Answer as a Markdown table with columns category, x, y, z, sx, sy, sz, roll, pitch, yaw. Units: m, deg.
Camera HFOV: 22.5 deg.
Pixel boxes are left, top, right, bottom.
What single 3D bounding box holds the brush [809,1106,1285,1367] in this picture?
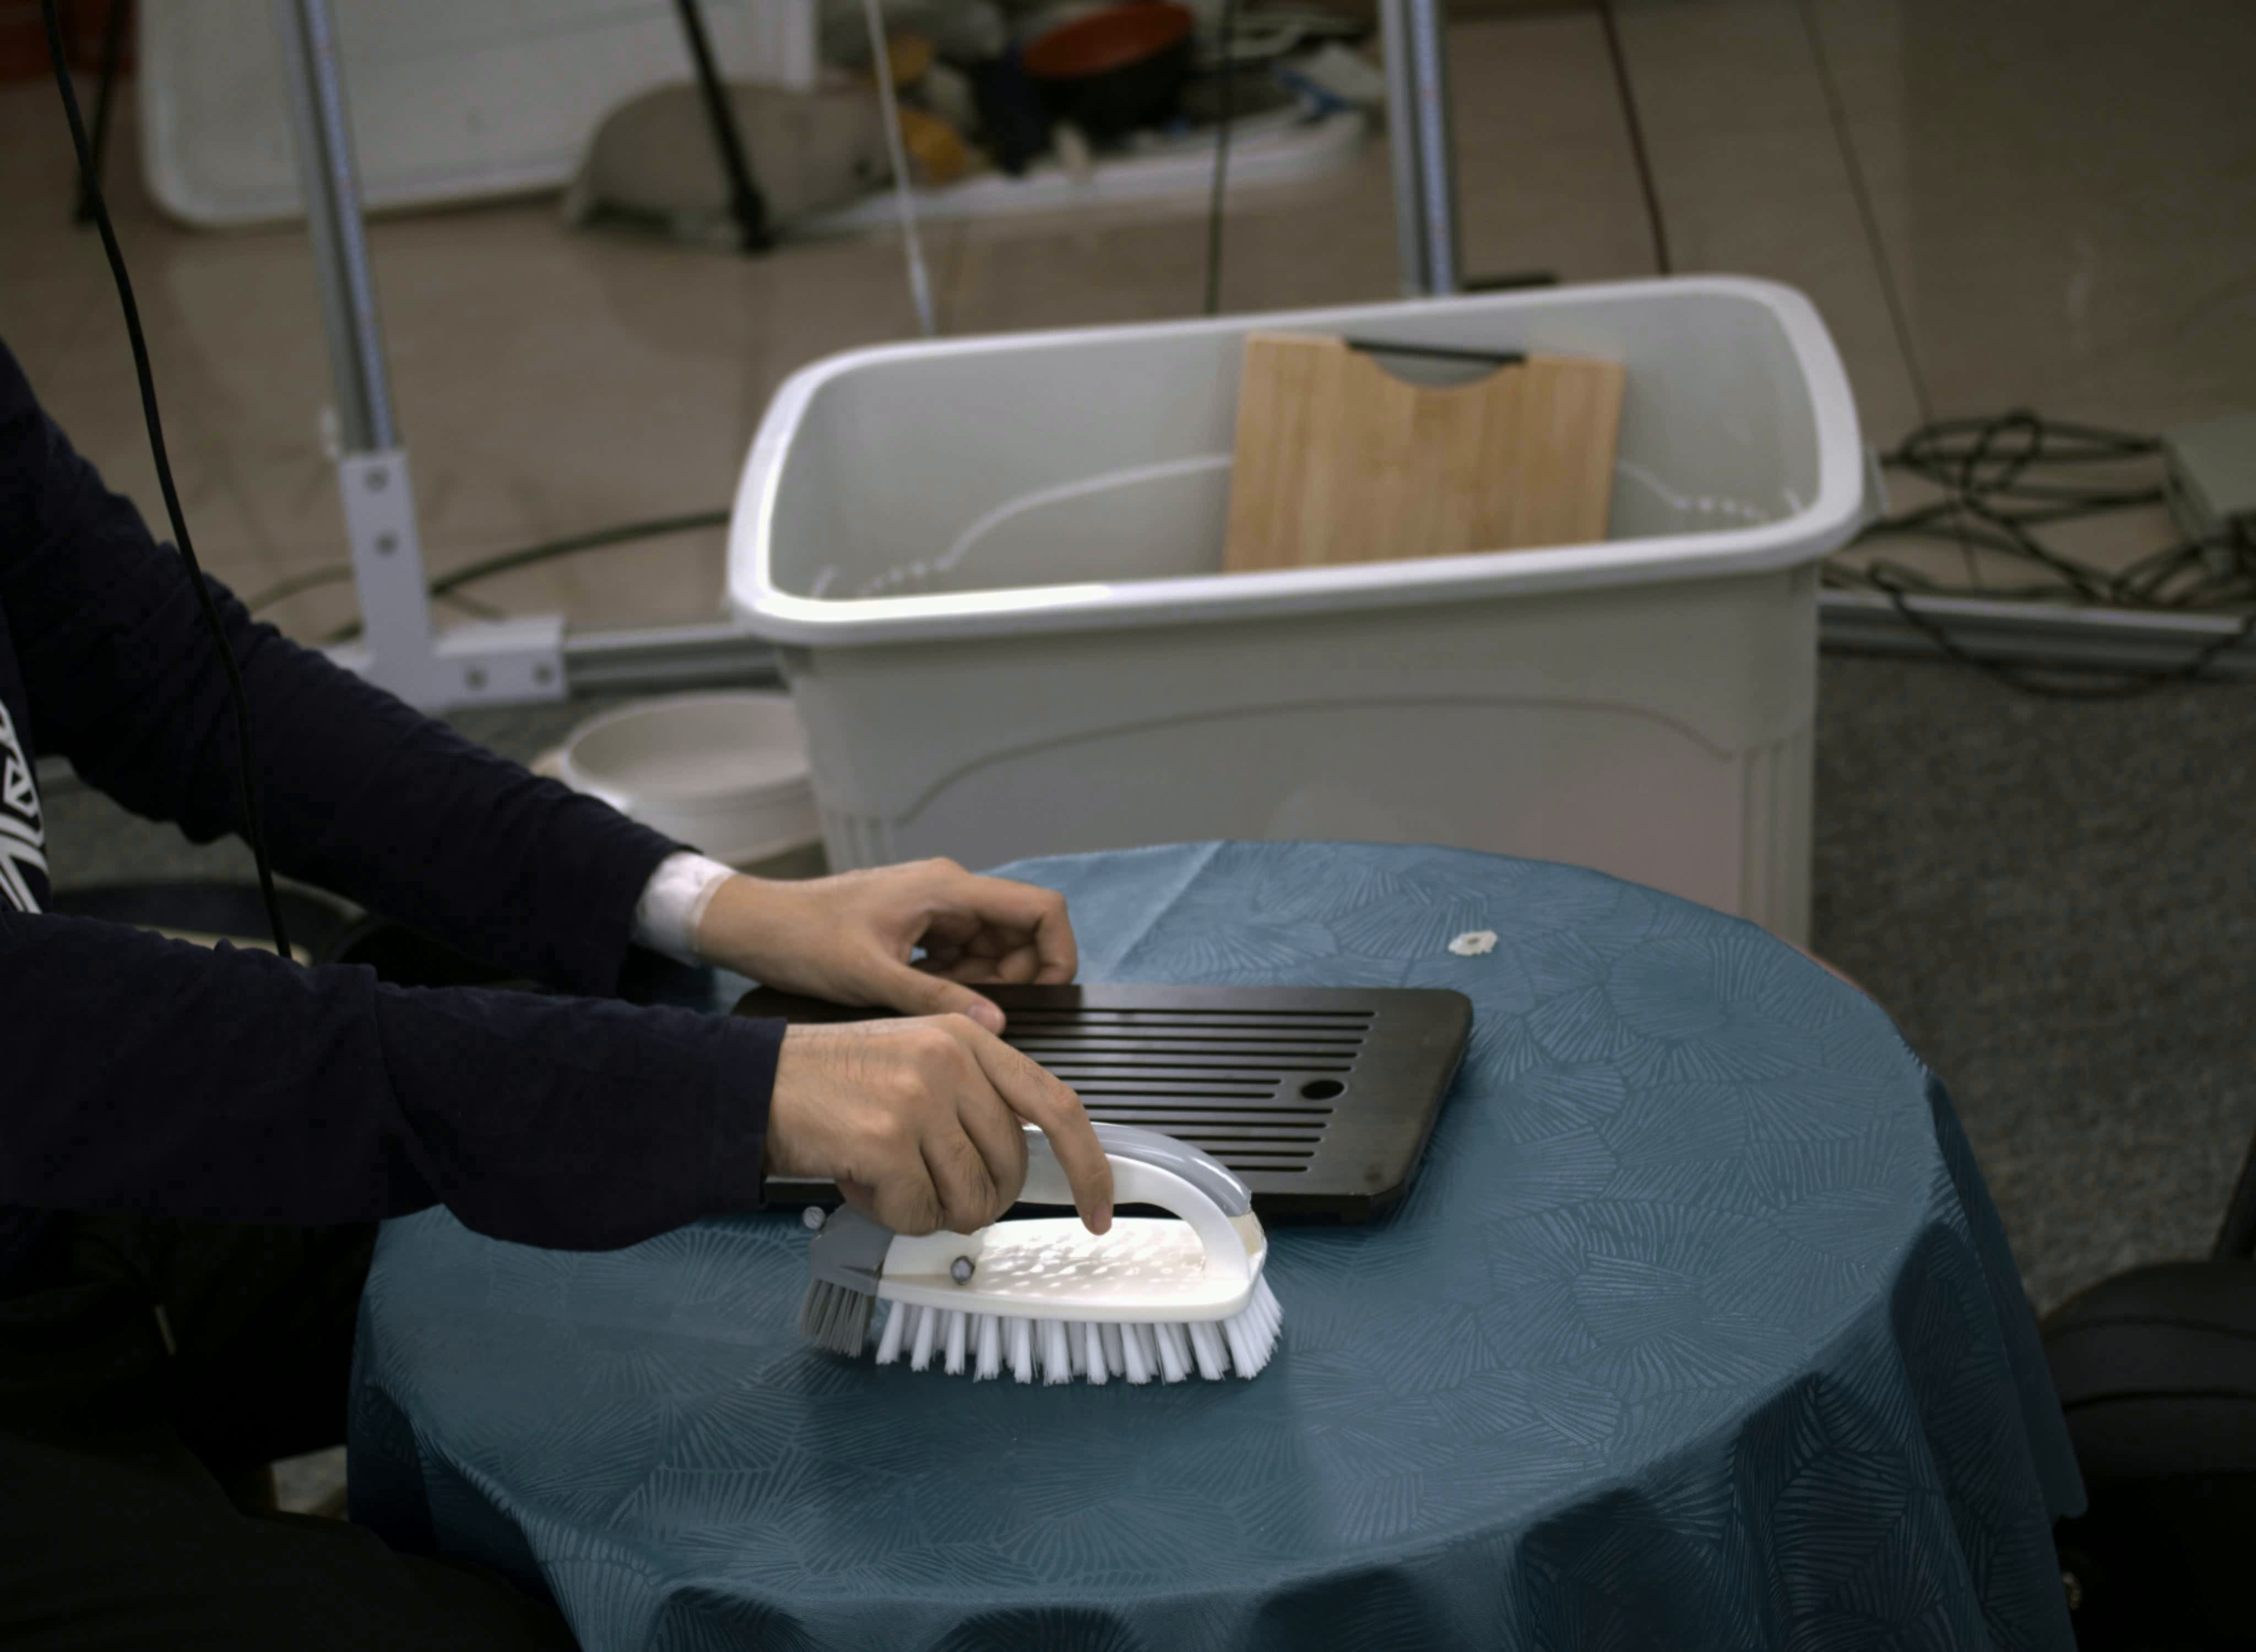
| category | x | y | z | sx | sy | sz | roll | pitch | yaw |
| --- | --- | --- | --- | --- | --- | --- | --- | --- | --- |
| brush | -0.035 | 0.146 | 2.037 | 0.175 | 0.096 | 0.060 | -2 | 27 | 11 |

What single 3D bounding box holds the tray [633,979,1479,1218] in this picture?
| category | x | y | z | sx | sy | sz | roll | pitch | yaw |
| --- | --- | --- | --- | --- | --- | --- | --- | --- | --- |
| tray | -0.026 | 0.105 | 2.206 | 0.305 | 0.019 | 0.168 | 0 | 25 | 15 |
